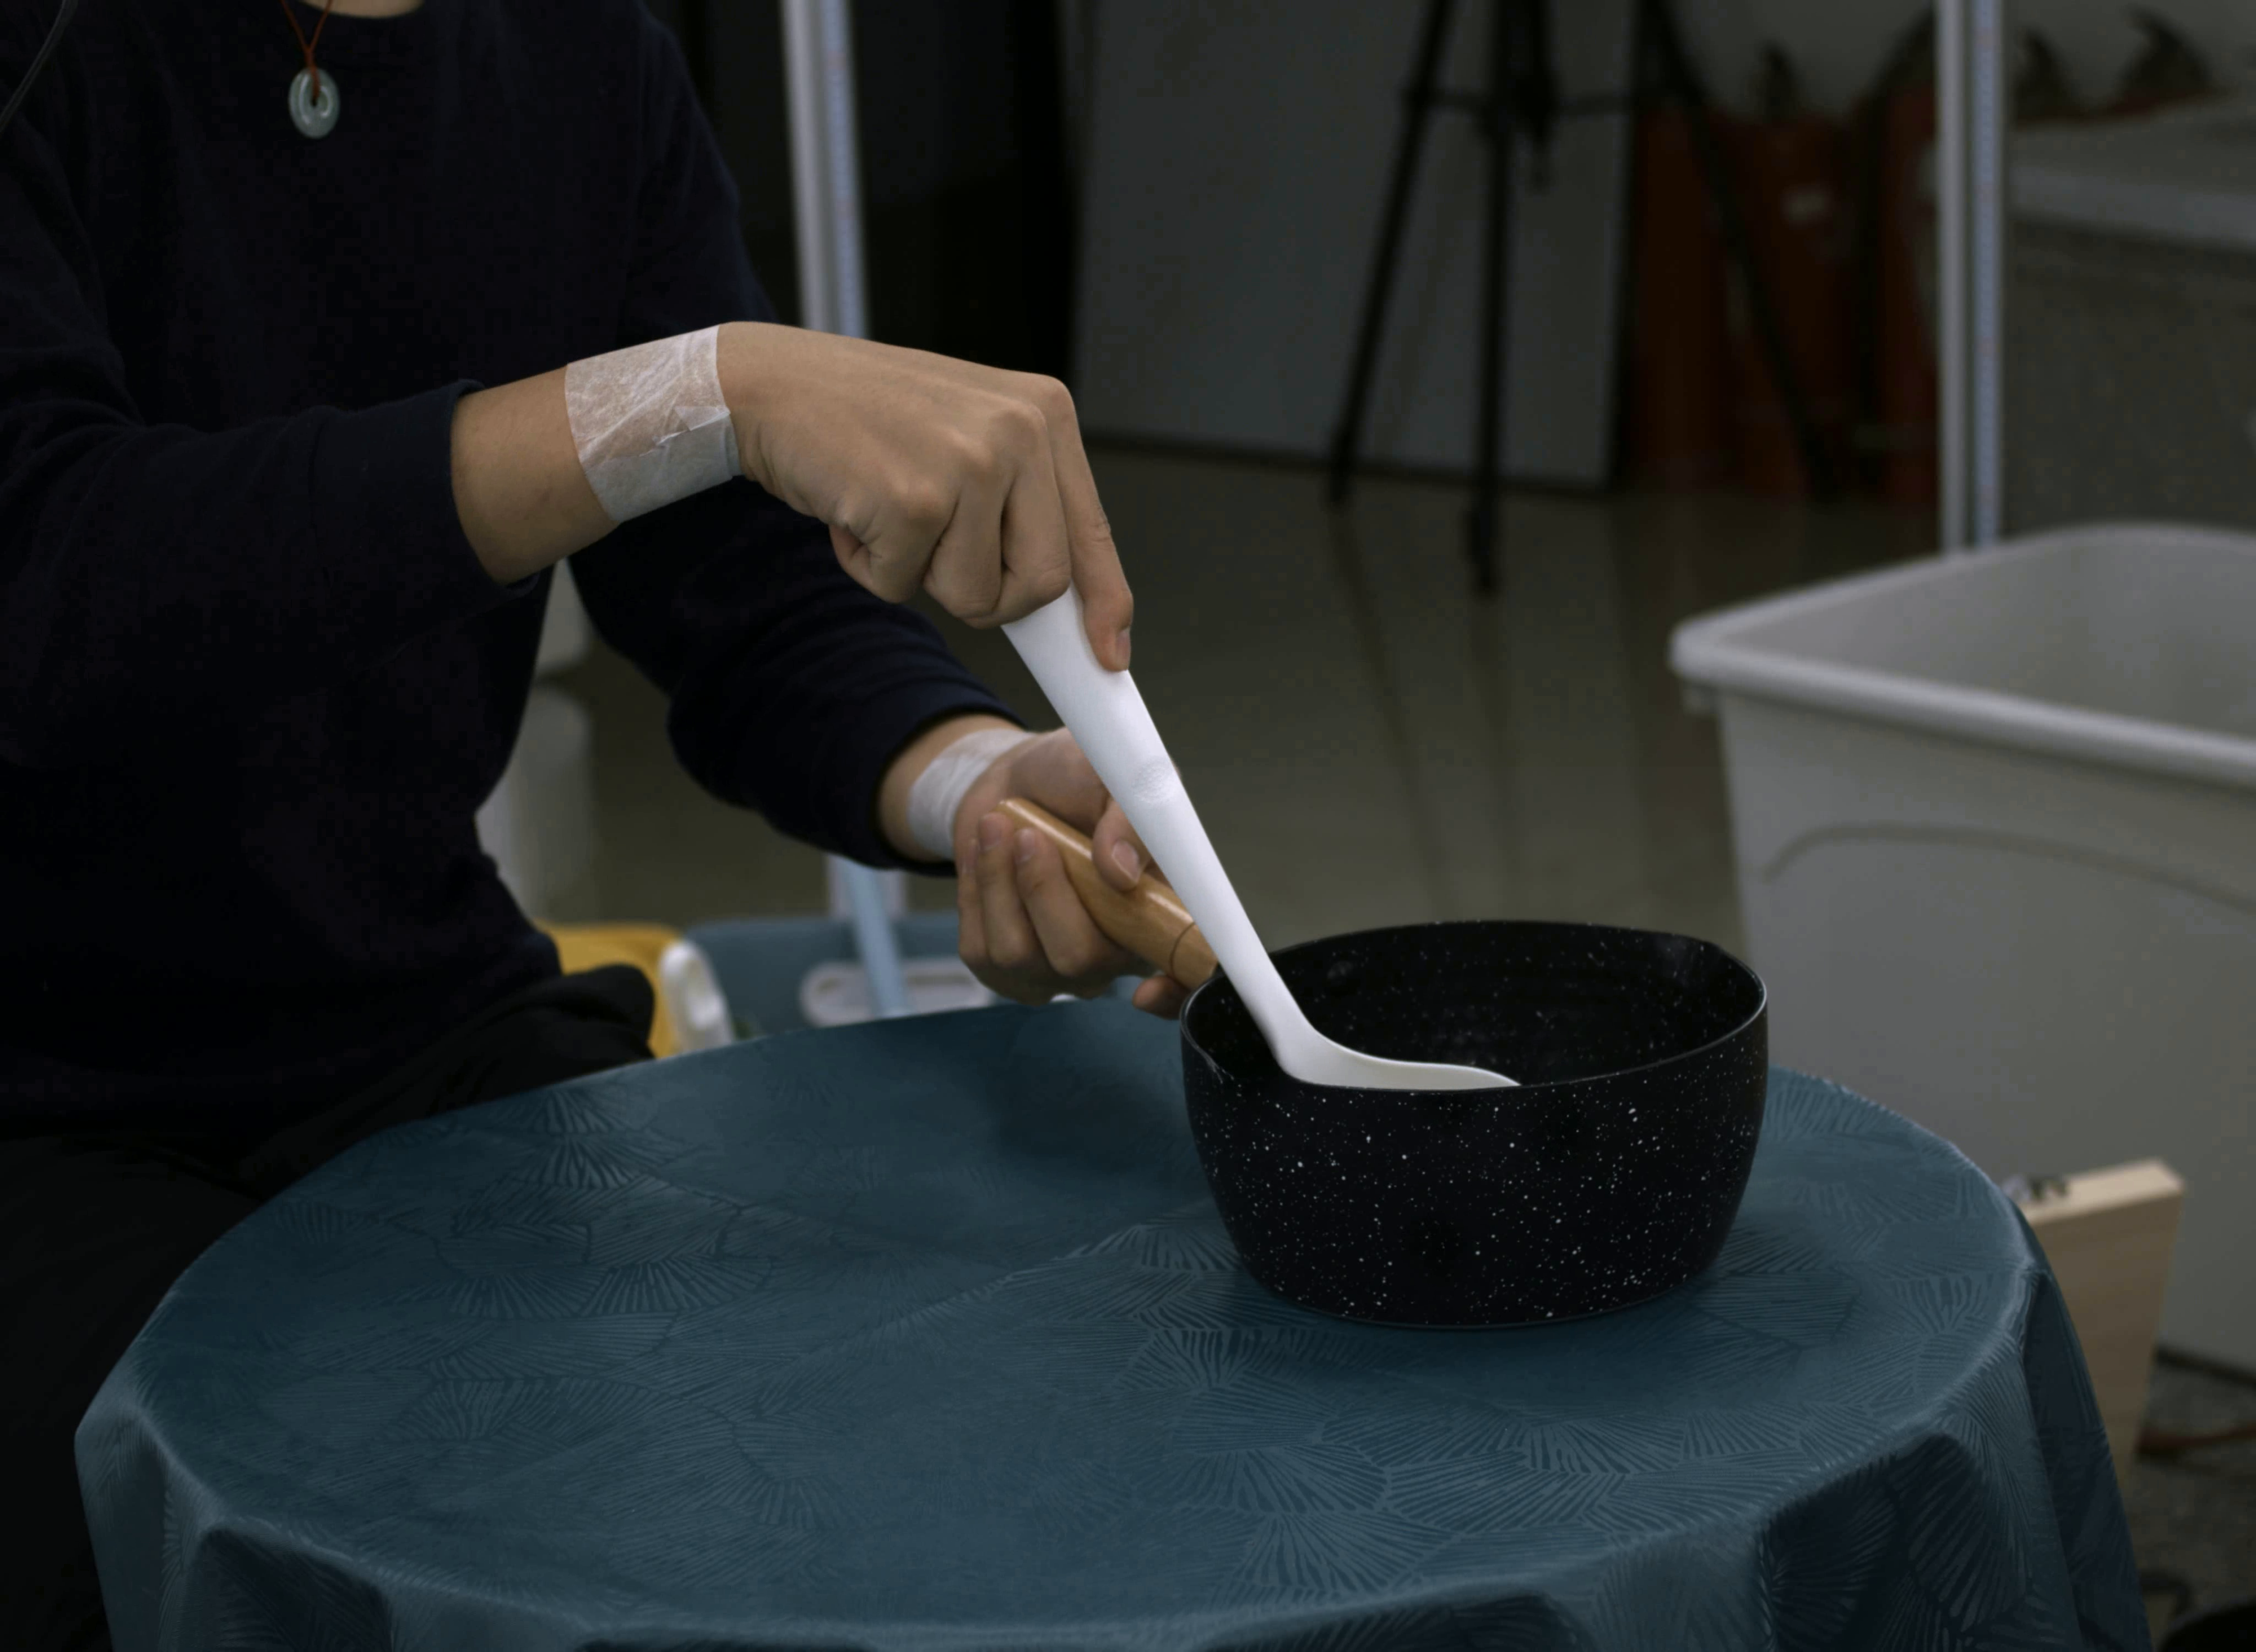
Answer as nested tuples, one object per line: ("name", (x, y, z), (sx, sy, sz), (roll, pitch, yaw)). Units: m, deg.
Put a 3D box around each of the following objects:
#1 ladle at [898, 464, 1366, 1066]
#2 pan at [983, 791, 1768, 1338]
("ladle", (0.021, 0.014, 1.680), (0.089, 0.295, 0.070), (-31, -3, -16))
("pan", (0.059, 0.070, 1.735), (0.203, 0.109, 0.346), (-15, 19, -35))
